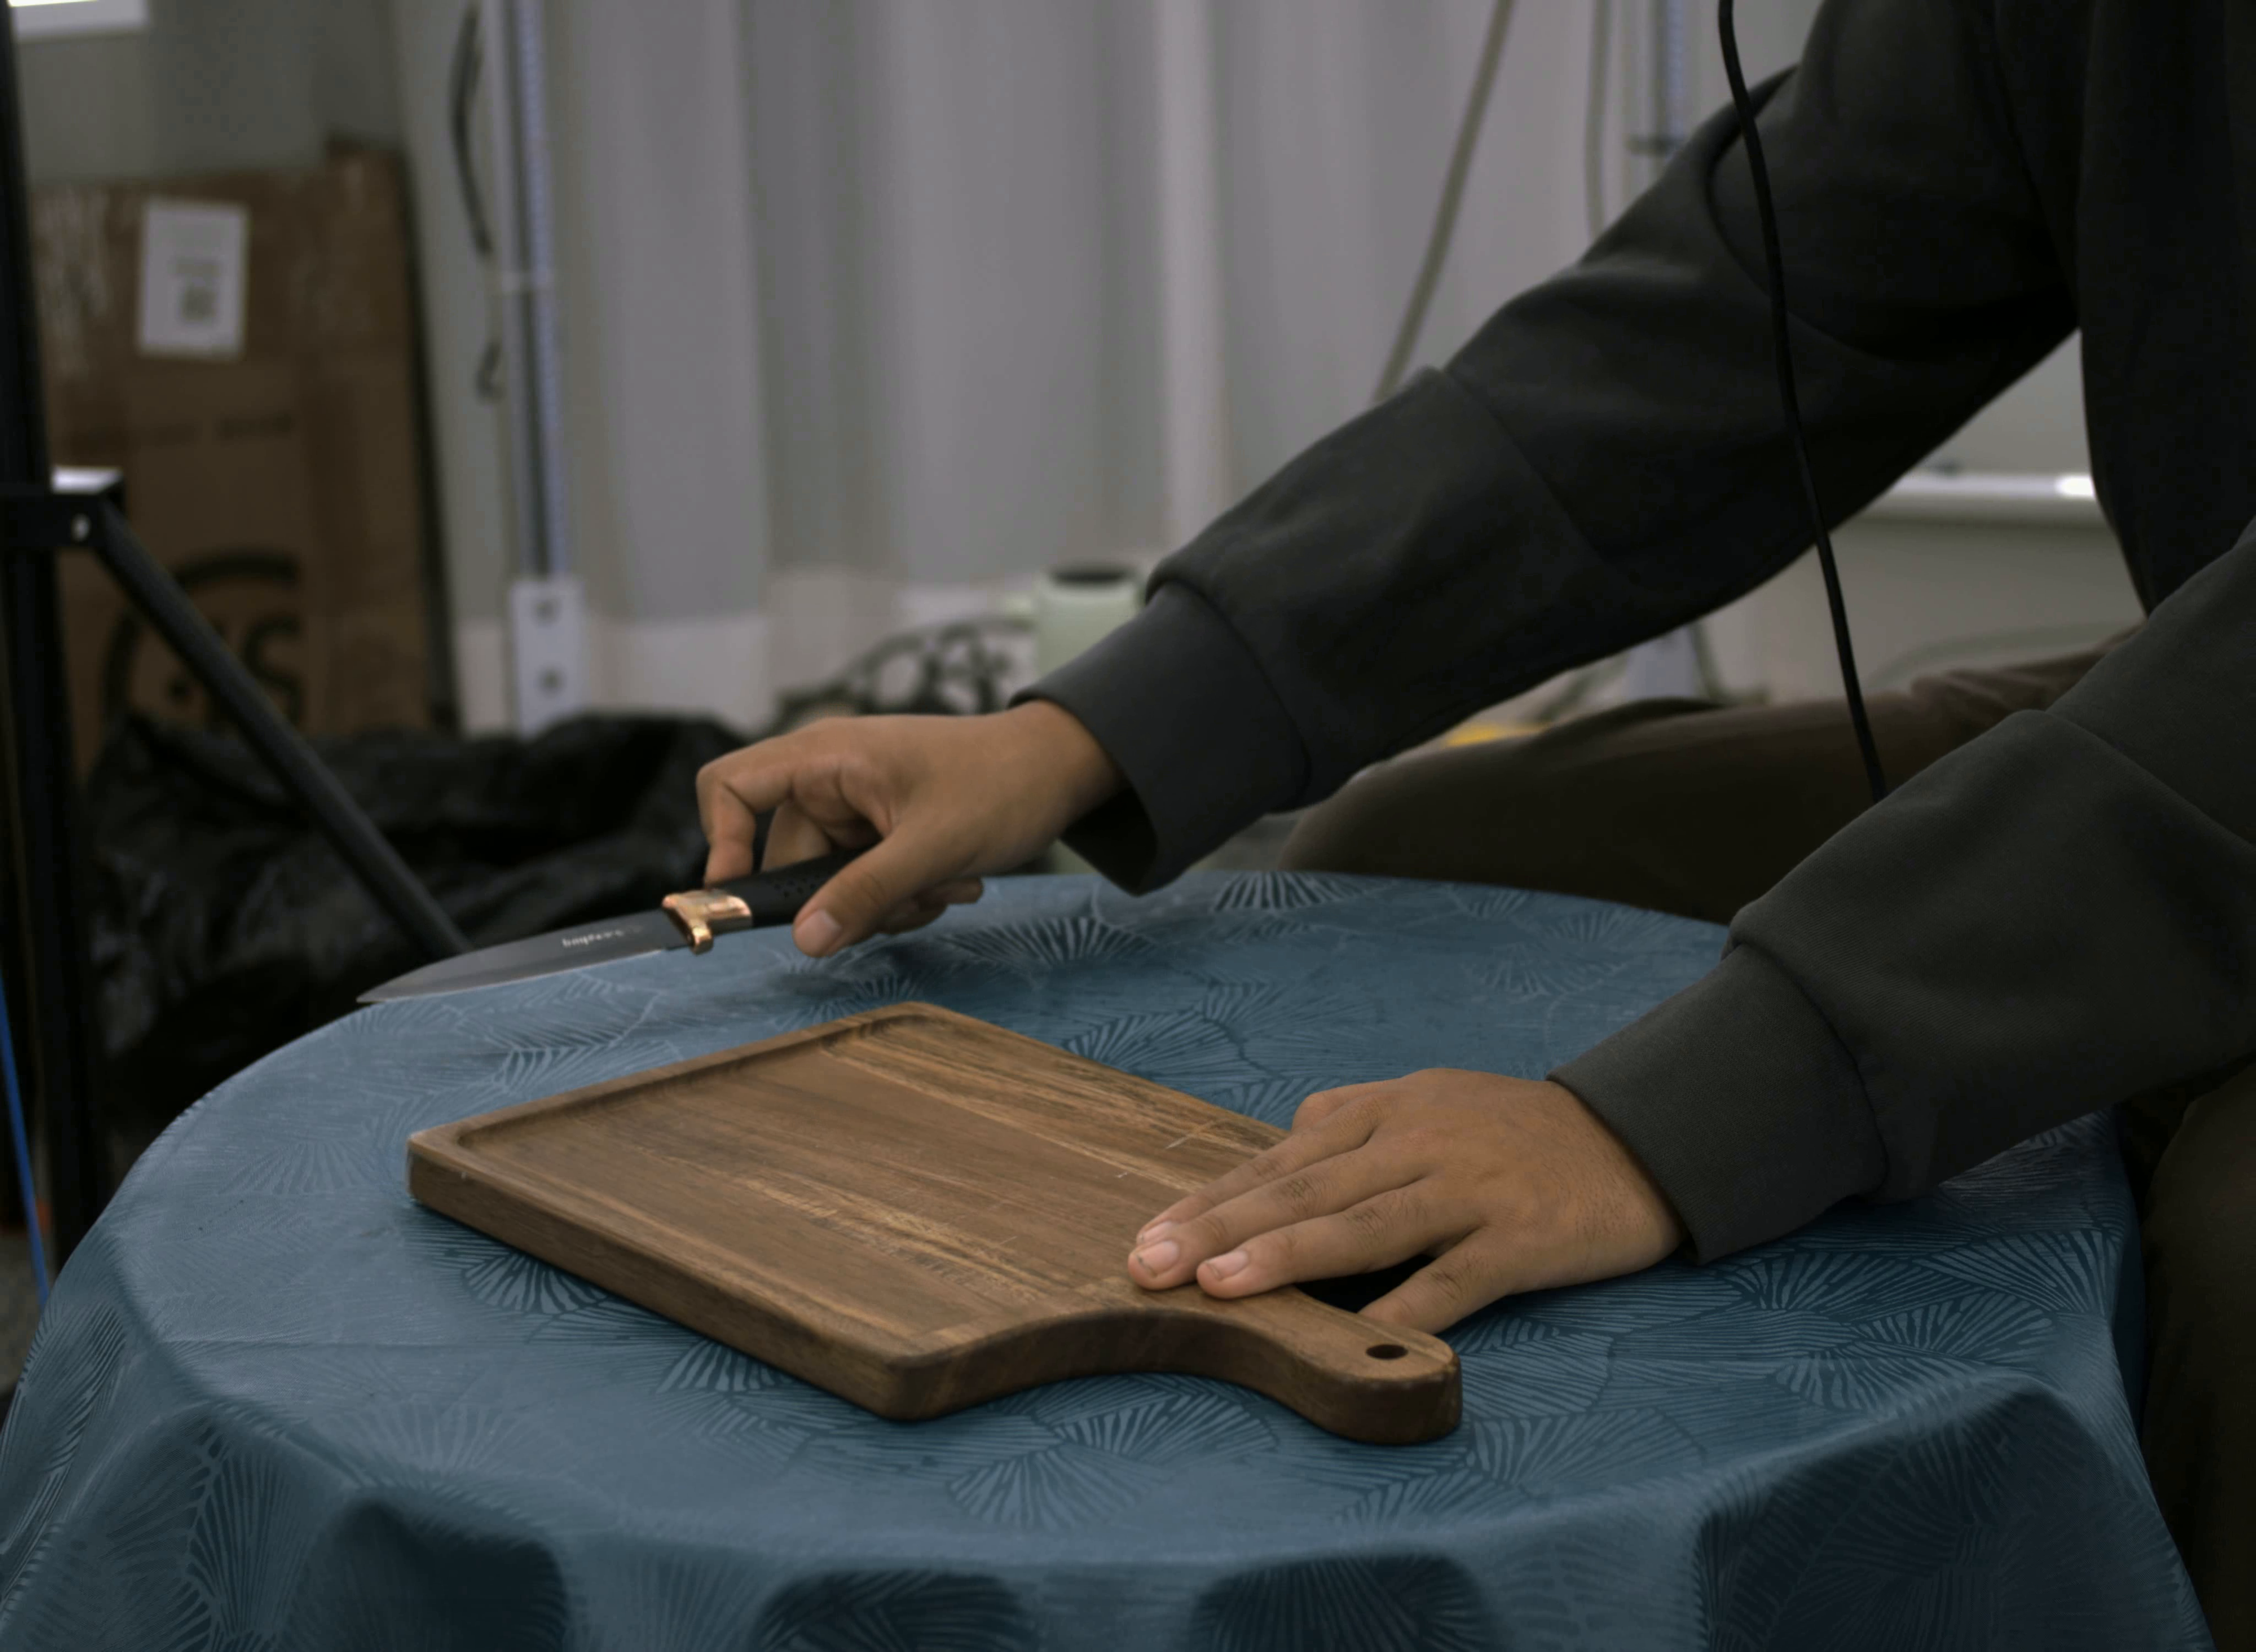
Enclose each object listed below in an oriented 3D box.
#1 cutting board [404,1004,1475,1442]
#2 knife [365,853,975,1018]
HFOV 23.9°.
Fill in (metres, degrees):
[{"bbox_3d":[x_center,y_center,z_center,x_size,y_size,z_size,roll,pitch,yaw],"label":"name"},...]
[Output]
[{"bbox_3d":[-0.030,0.116,1.496,0.196,0.023,0.360,-14,20,-36],"label":"cutting board"},{"bbox_3d":[-0.146,0.036,1.733,0.221,0.017,0.027,-12,39,-27],"label":"knife"}]
